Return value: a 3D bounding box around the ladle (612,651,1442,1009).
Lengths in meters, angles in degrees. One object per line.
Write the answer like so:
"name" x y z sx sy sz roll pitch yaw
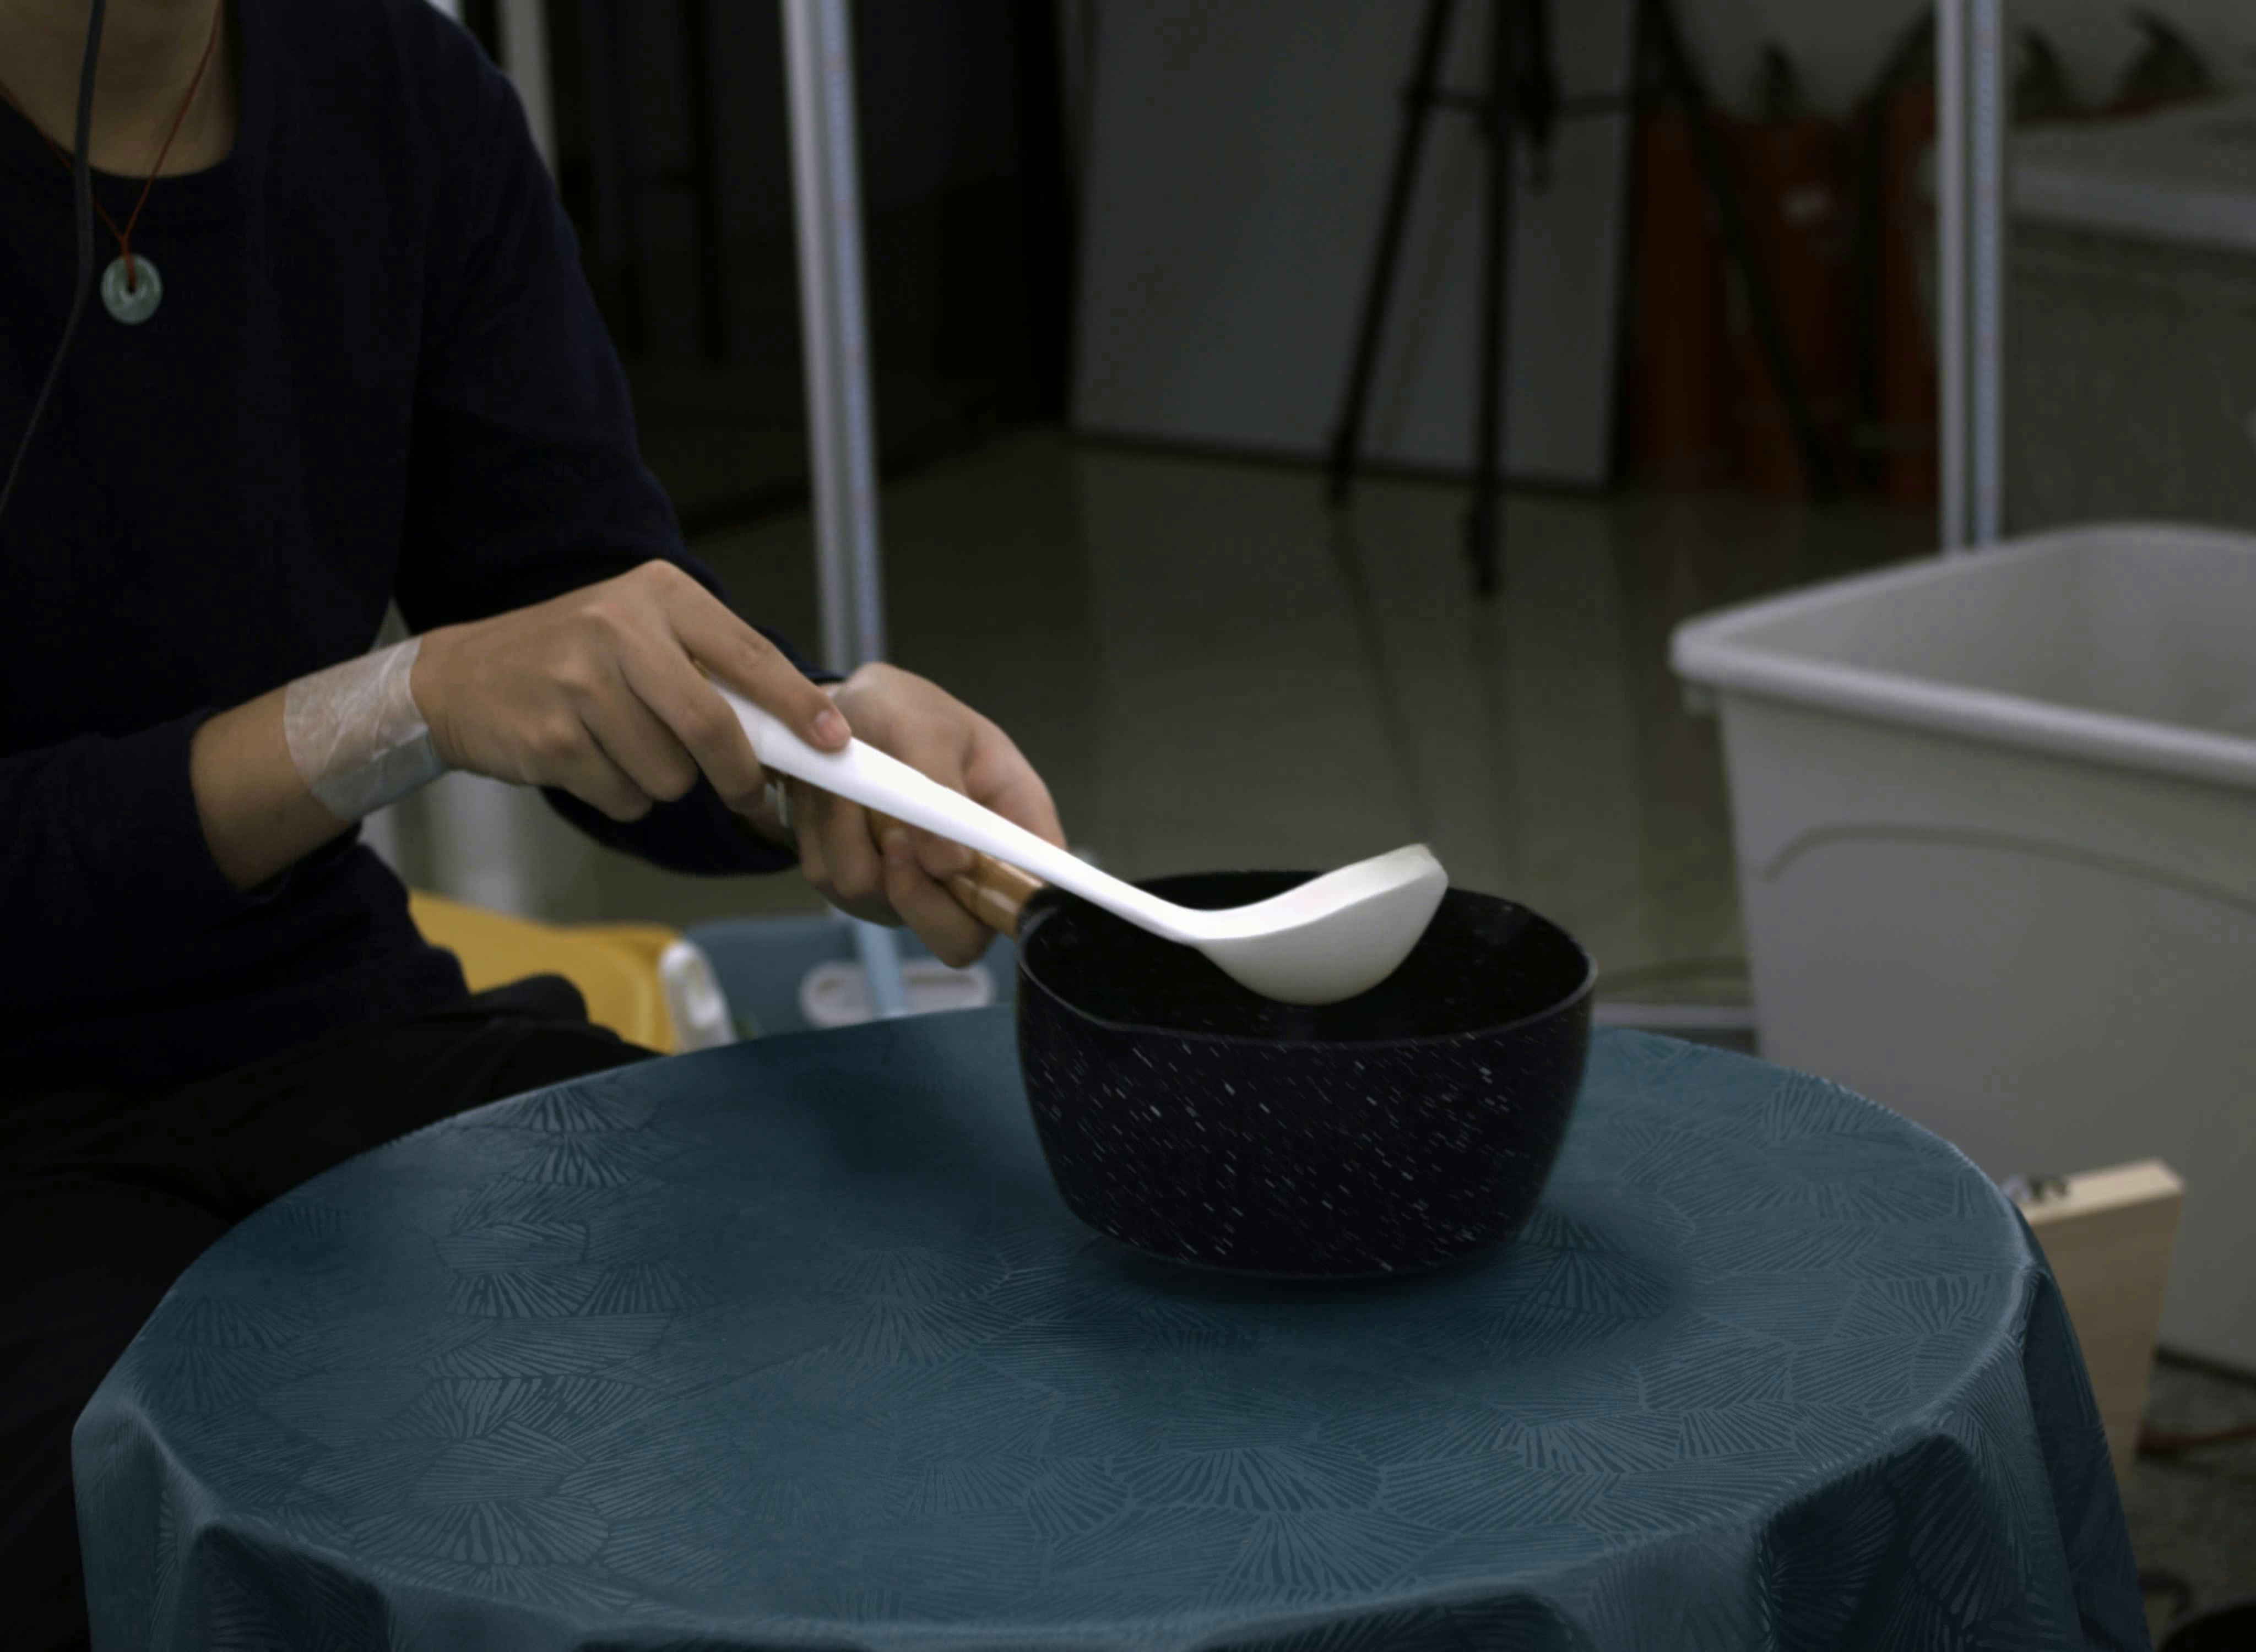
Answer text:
"ladle" -0.038 -0.011 1.744 0.294 0.070 0.089 22 32 23

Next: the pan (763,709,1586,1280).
"pan" -0.005 0.050 1.756 0.346 0.109 0.203 17 22 42
